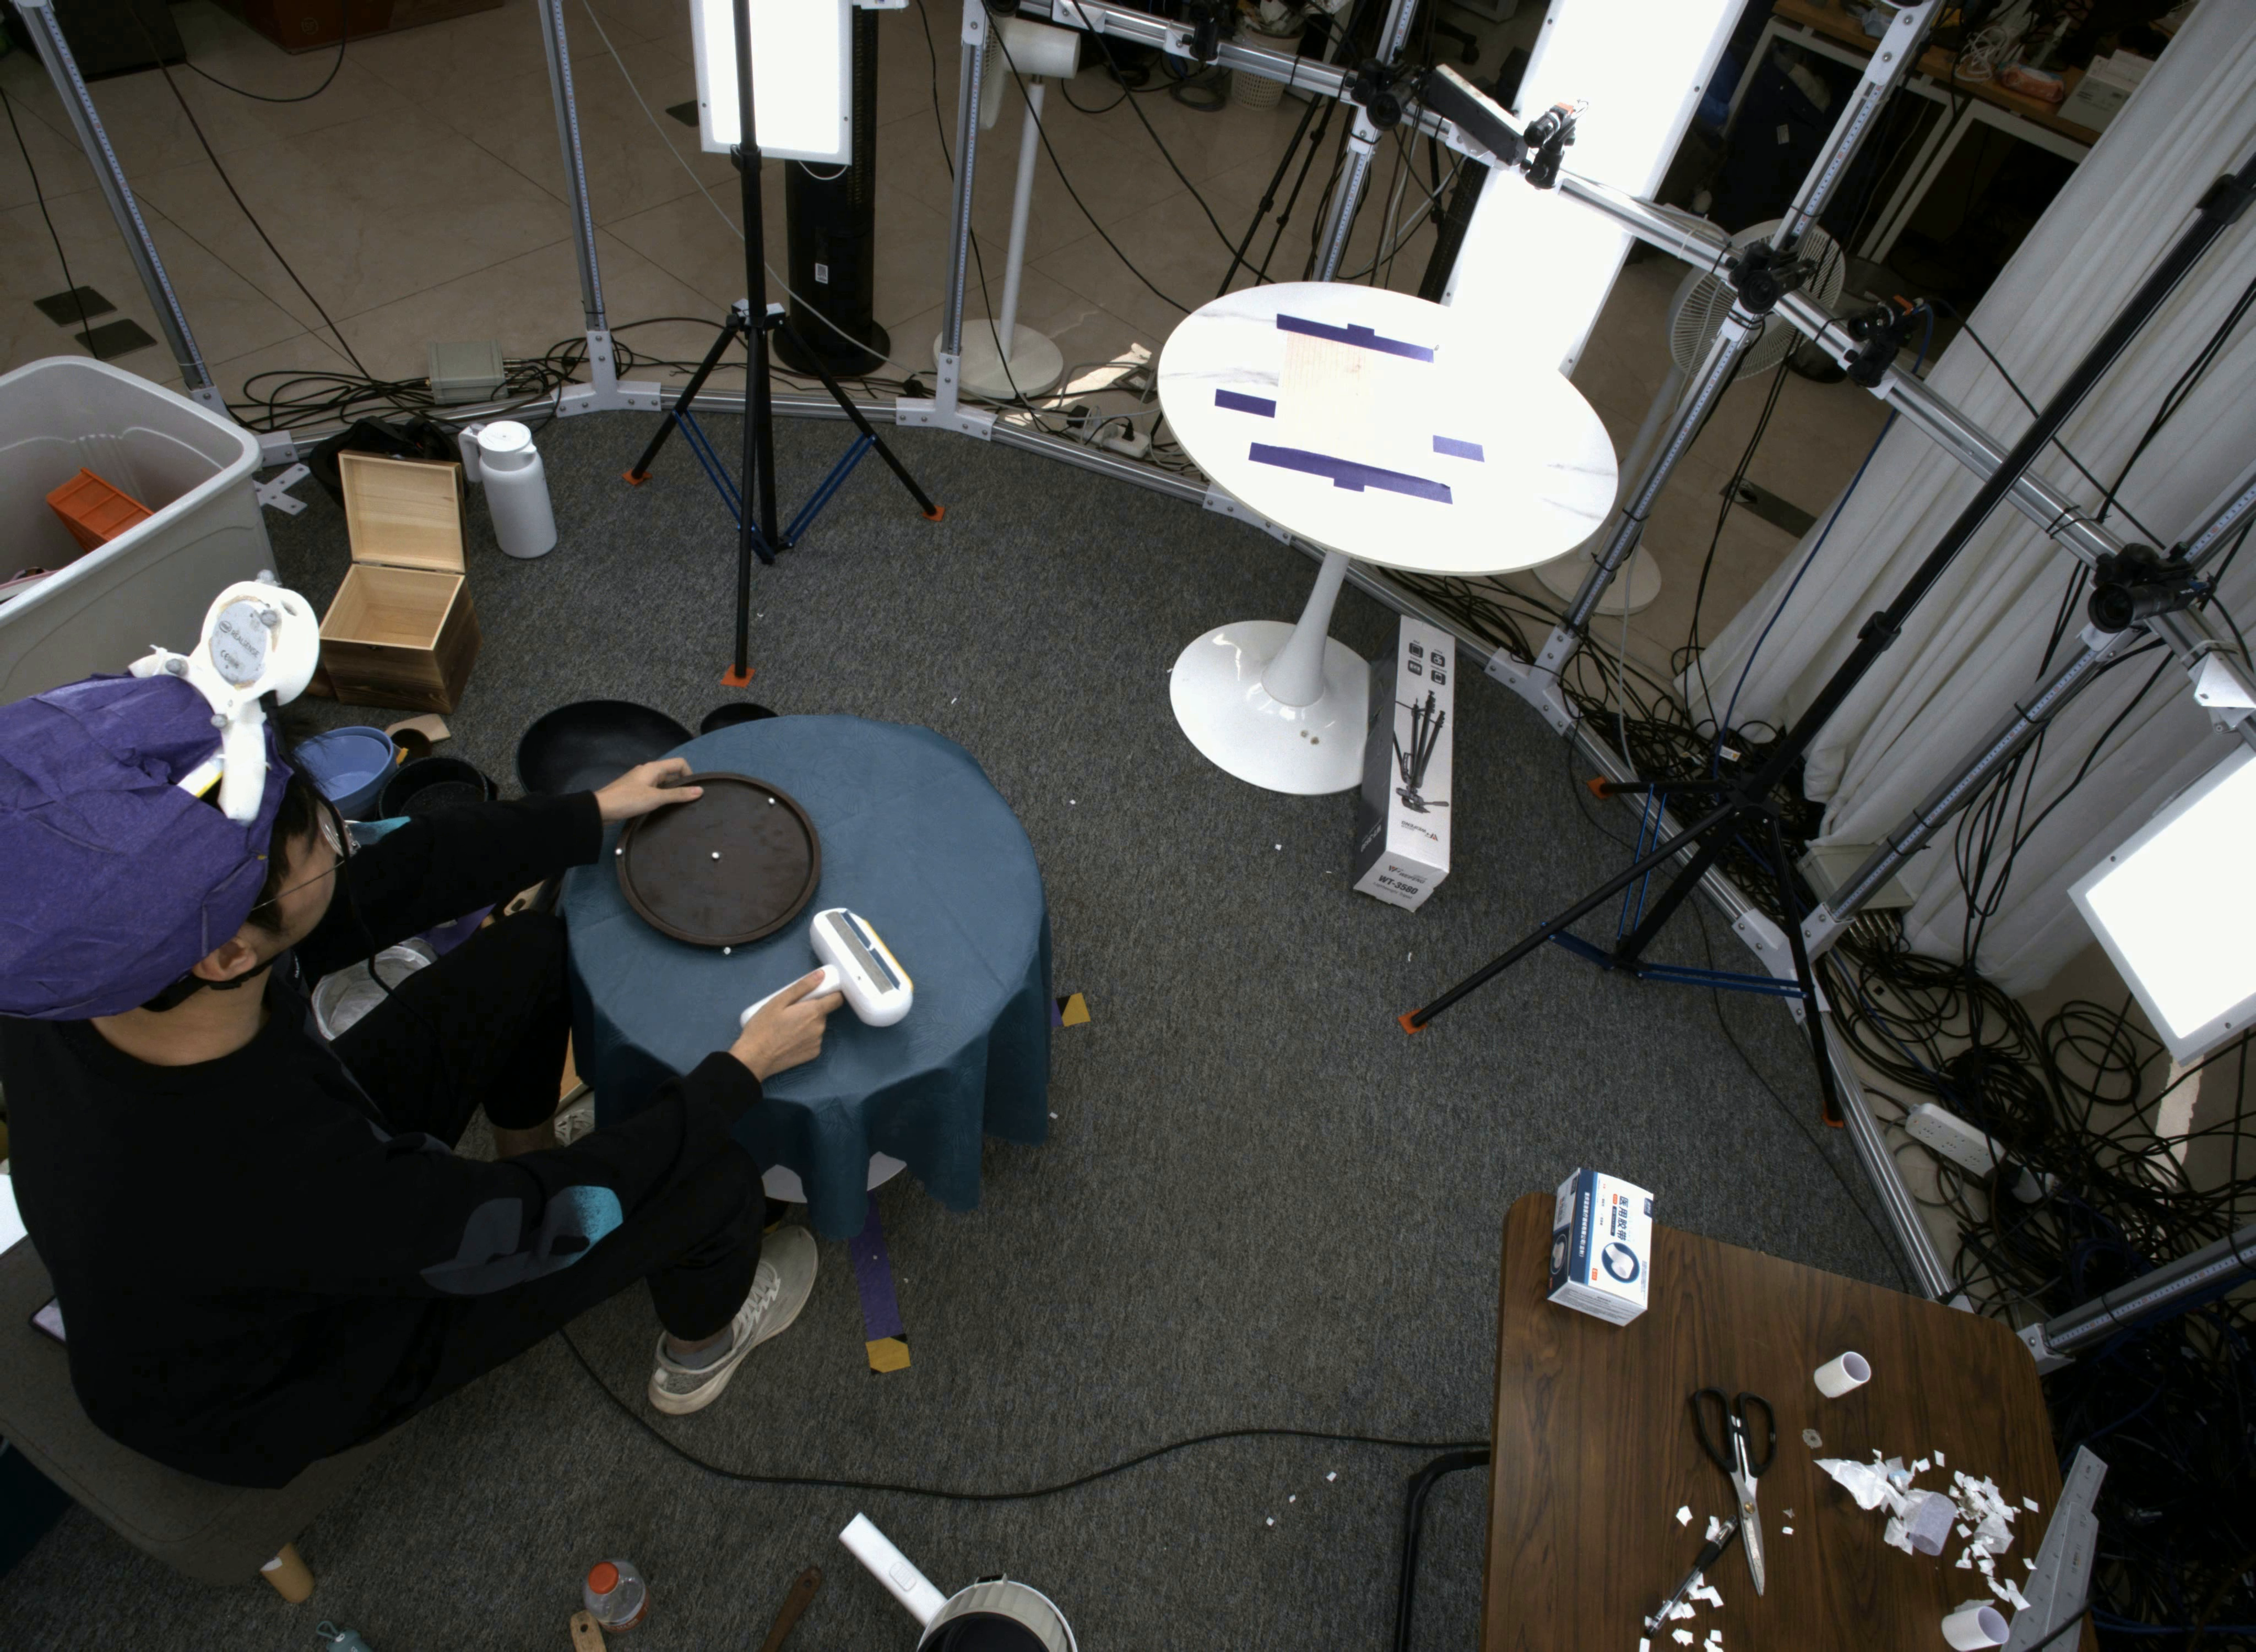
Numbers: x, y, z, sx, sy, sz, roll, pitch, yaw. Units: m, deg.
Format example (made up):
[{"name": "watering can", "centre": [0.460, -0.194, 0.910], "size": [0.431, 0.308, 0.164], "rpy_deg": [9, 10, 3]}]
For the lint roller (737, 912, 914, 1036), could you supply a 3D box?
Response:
[{"name": "lint roller", "centre": [-0.371, 0.190, 1.543], "size": [0.193, 0.076, 0.186], "rpy_deg": [-16, 45, -27]}]

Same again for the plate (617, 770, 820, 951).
[{"name": "plate", "centre": [-0.519, 0.041, 1.640], "size": [0.255, 0.029, 0.251], "rpy_deg": [8, 61, -13]}]
